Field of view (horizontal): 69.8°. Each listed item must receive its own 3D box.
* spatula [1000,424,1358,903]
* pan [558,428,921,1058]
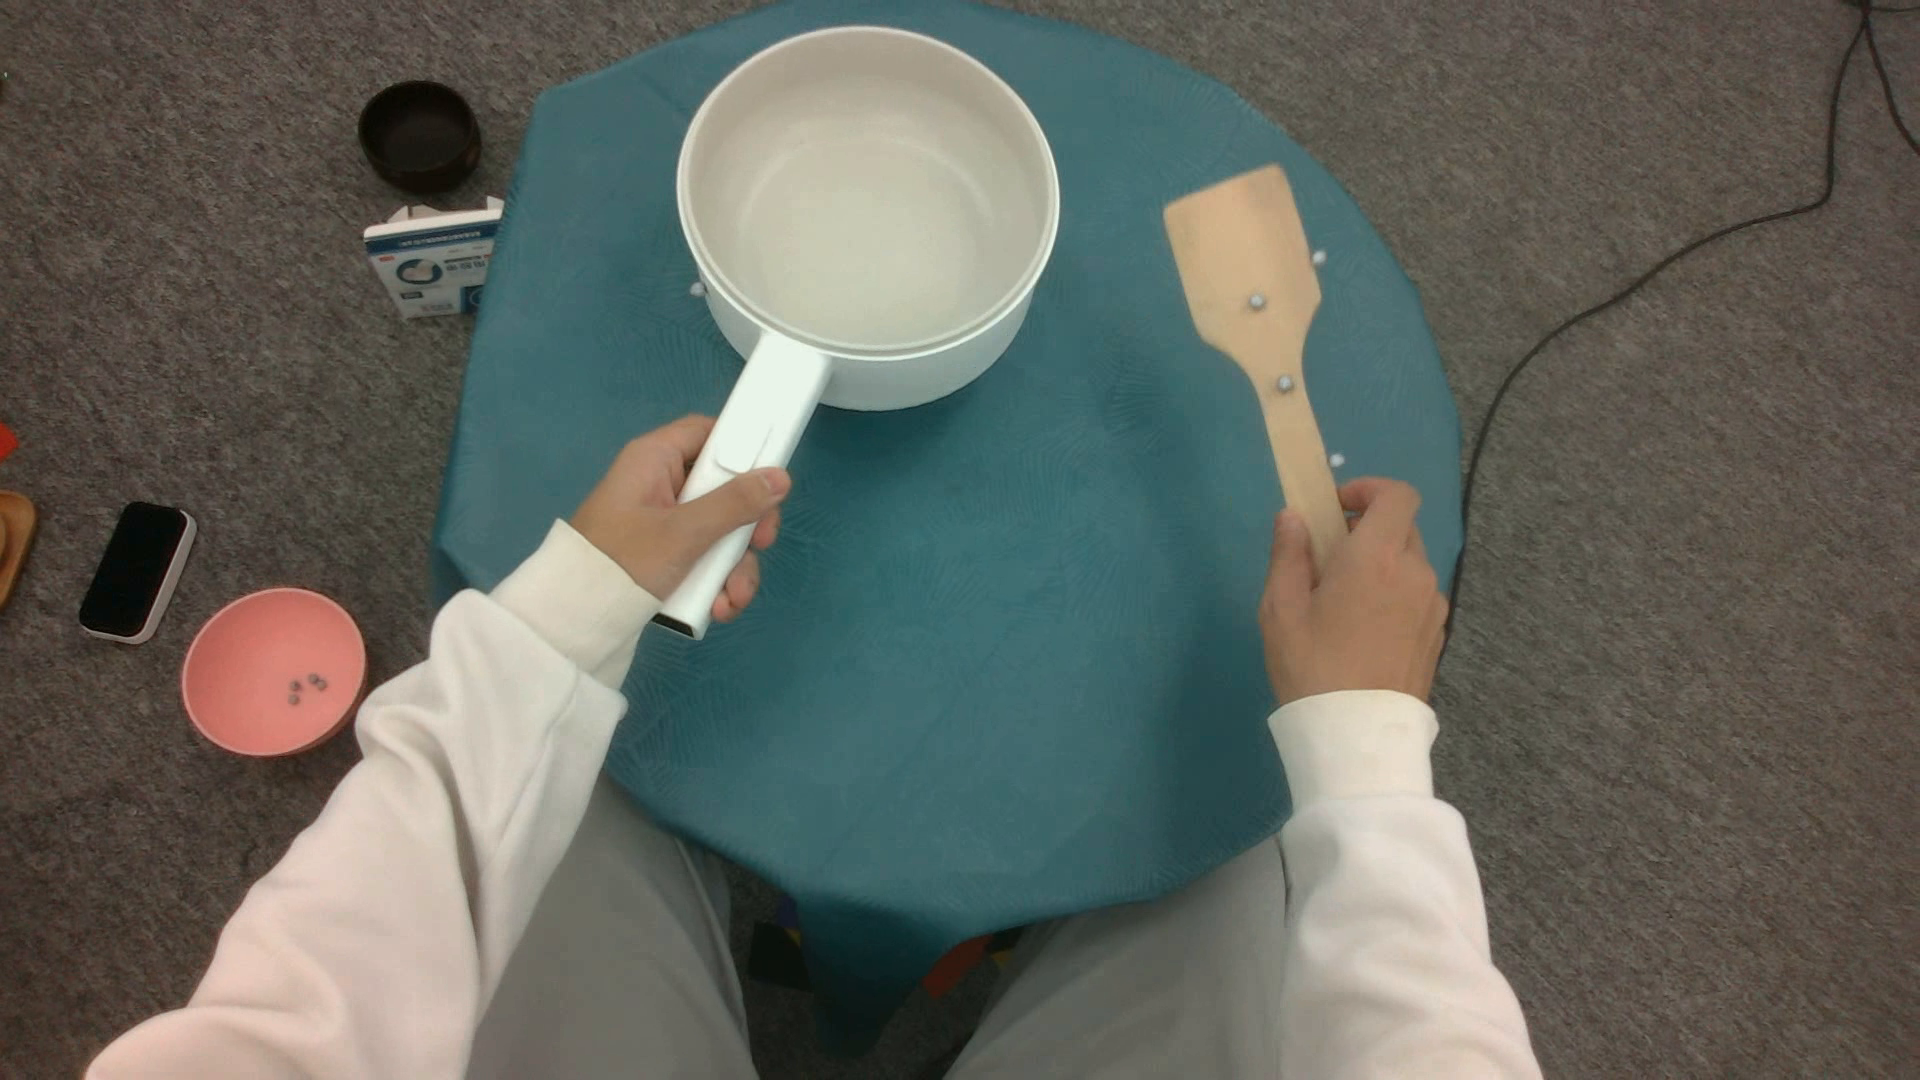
[{"bbox_3d":[0.121,0.064,0.747,0.072,0.010,0.293,-36,67,10],"label":"spatula"},{"bbox_3d":[-0.131,0.106,0.765,0.201,0.101,0.356,6,58,1],"label":"pan"}]
